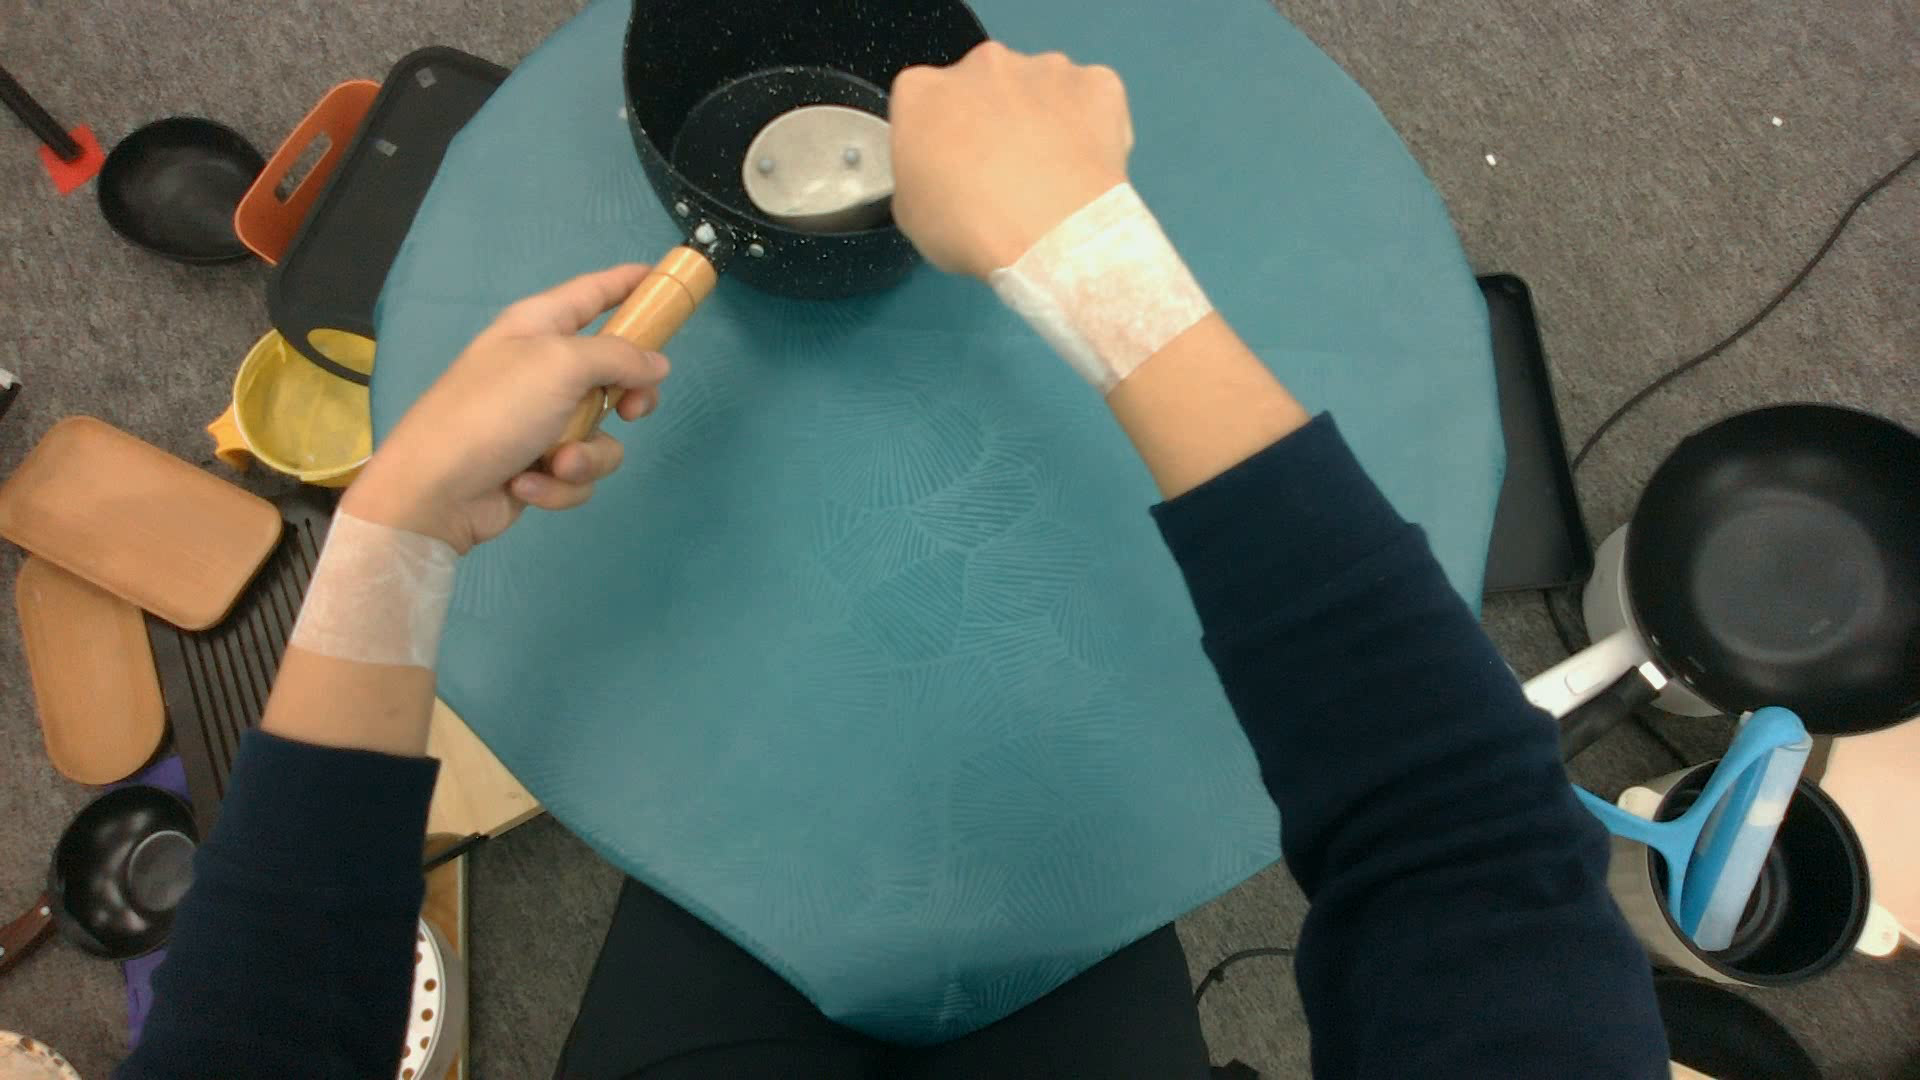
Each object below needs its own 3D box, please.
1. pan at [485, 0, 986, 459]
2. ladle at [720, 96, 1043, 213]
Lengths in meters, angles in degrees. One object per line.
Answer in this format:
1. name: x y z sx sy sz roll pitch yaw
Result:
1. pan: -0.116 -0.156 0.663 0.207 0.108 0.344 26 64 0
2. ladle: -0.037 -0.184 0.613 0.089 0.274 0.069 -20 104 -20
